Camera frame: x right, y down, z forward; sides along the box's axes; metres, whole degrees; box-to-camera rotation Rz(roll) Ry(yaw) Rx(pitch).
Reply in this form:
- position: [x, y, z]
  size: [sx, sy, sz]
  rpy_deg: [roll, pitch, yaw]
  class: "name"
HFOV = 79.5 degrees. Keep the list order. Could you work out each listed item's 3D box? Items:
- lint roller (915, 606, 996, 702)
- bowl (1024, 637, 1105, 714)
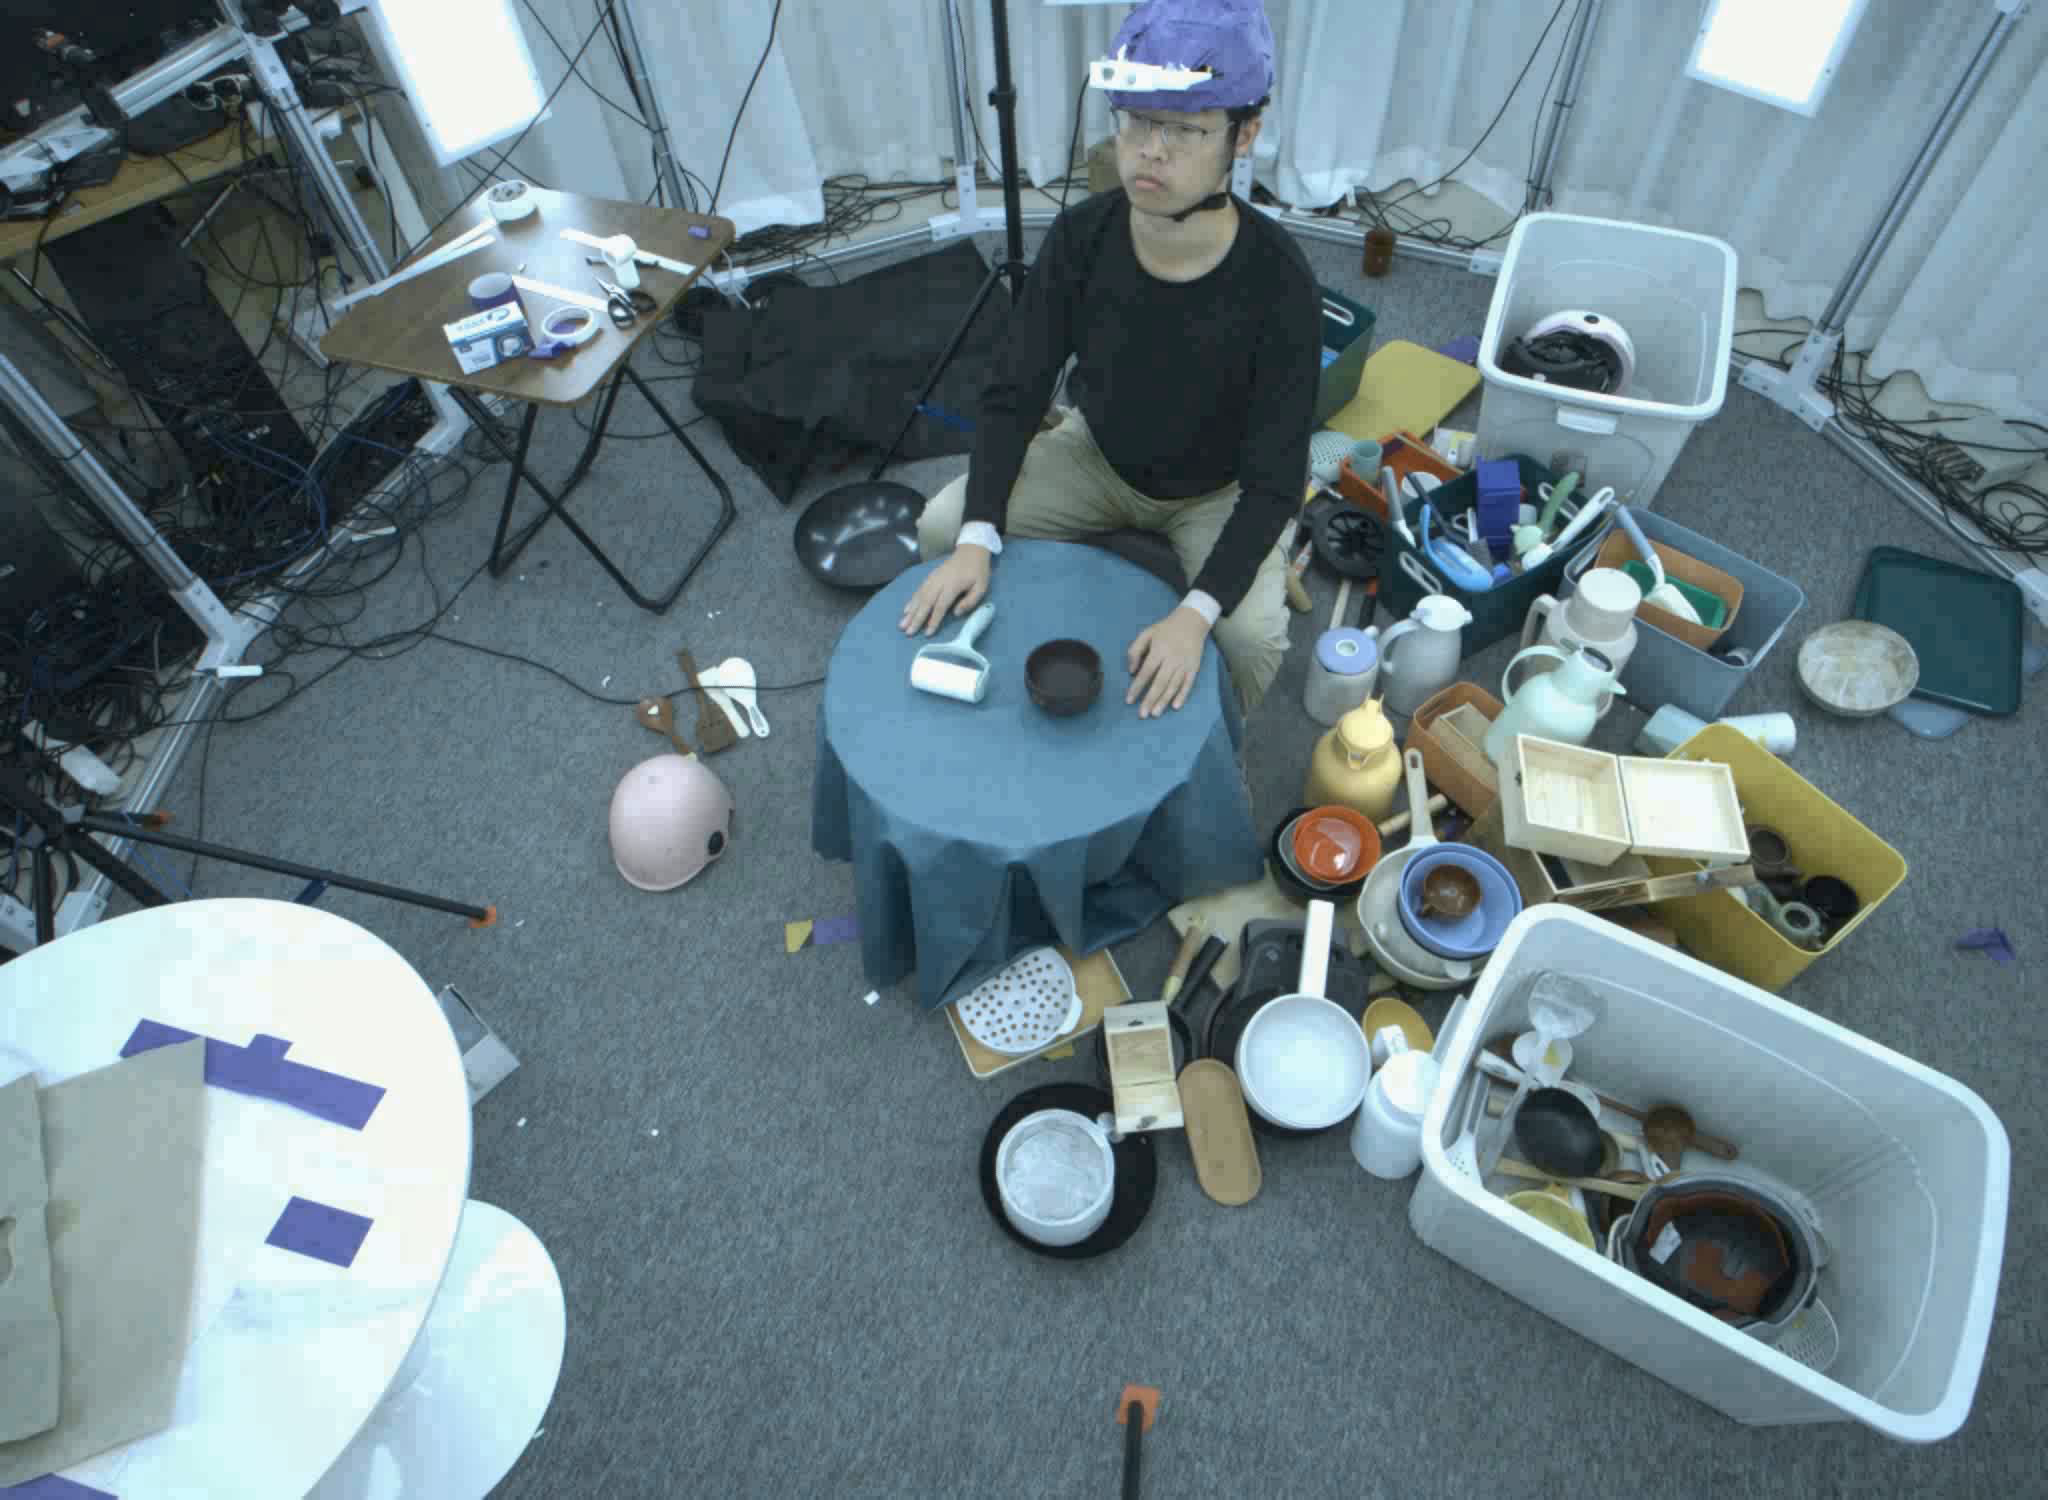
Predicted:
- position: [-0.081, -0.159, 1.876]
  size: [0.115, 0.049, 0.197]
  rpy_deg: [14, 55, 13]
  class: "lint roller"
- position: [0.060, -0.101, 1.813]
  size: [0.118, 0.070, 0.117]
  rpy_deg: [-1, 54, 2]
  class: "bowl"
